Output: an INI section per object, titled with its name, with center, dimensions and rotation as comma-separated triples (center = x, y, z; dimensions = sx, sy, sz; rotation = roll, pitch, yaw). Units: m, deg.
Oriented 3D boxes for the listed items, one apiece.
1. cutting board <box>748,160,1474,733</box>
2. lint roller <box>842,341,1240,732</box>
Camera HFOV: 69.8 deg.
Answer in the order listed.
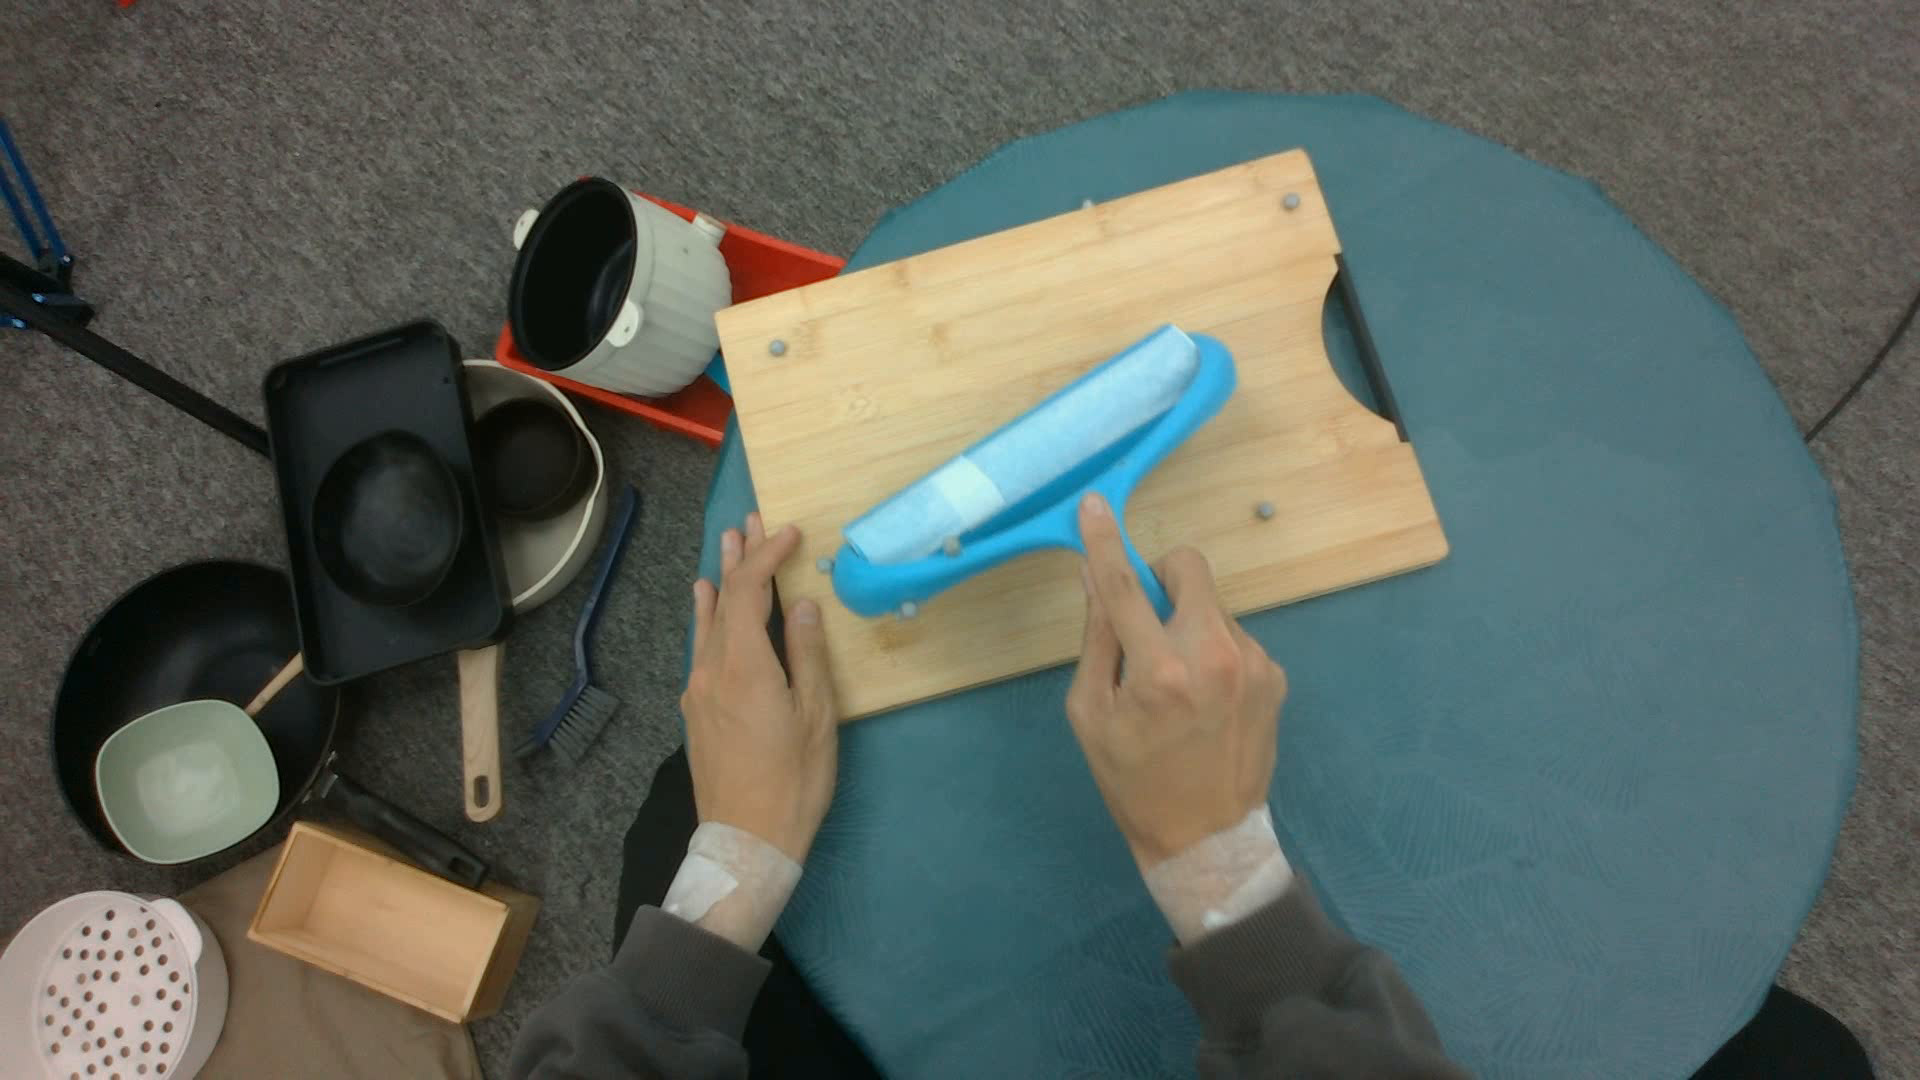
[cutting board]
center = 0.070, -0.055, 0.753
dimensions = 0.348, 0.023, 0.251
rotation = -16, 76, 2
[lint roller]
center = 0.072, 0.010, 0.657
dimensions = 0.229, 0.067, 0.180
rotation = -35, 55, -9
